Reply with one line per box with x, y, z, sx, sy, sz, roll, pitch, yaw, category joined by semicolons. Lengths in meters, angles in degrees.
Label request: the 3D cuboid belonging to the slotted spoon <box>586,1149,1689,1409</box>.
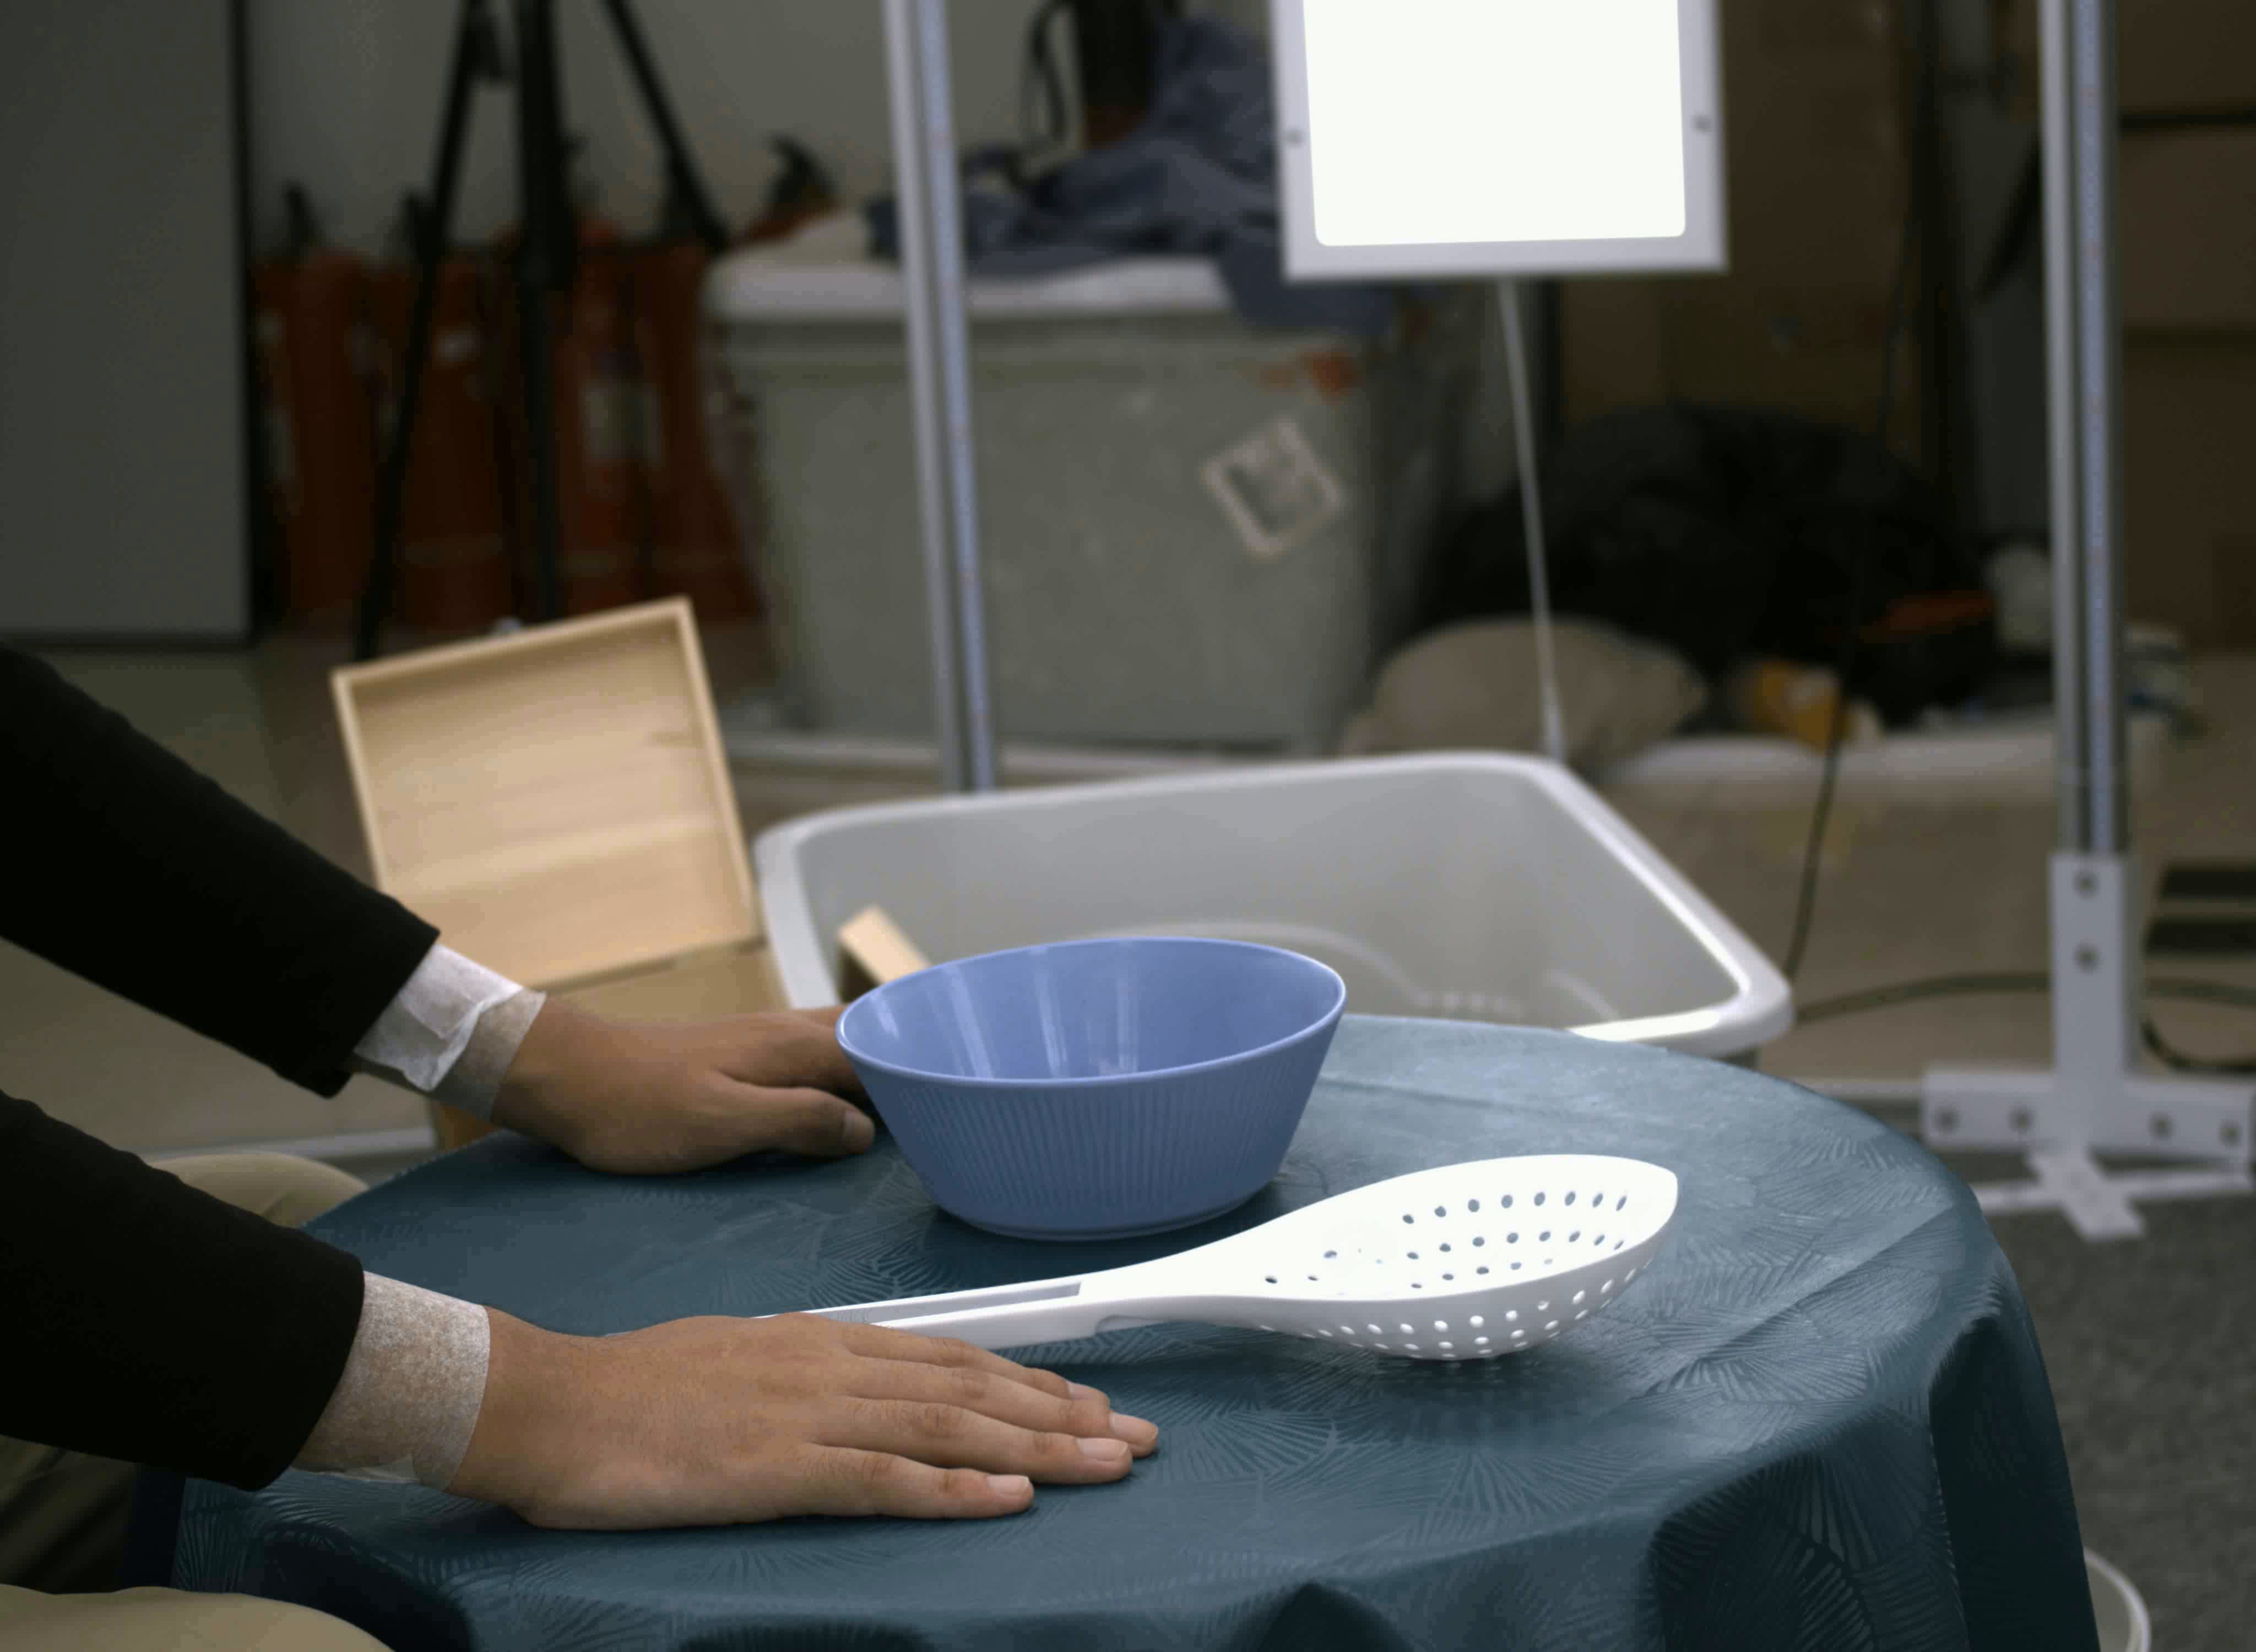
0.002;0.147;1.719;0.350;0.046;0.135;-5;14;6;slotted spoon

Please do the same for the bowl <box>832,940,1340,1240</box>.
-0.012;0.093;1.892;0.175;0.070;0.176;-6;14;0;bowl
